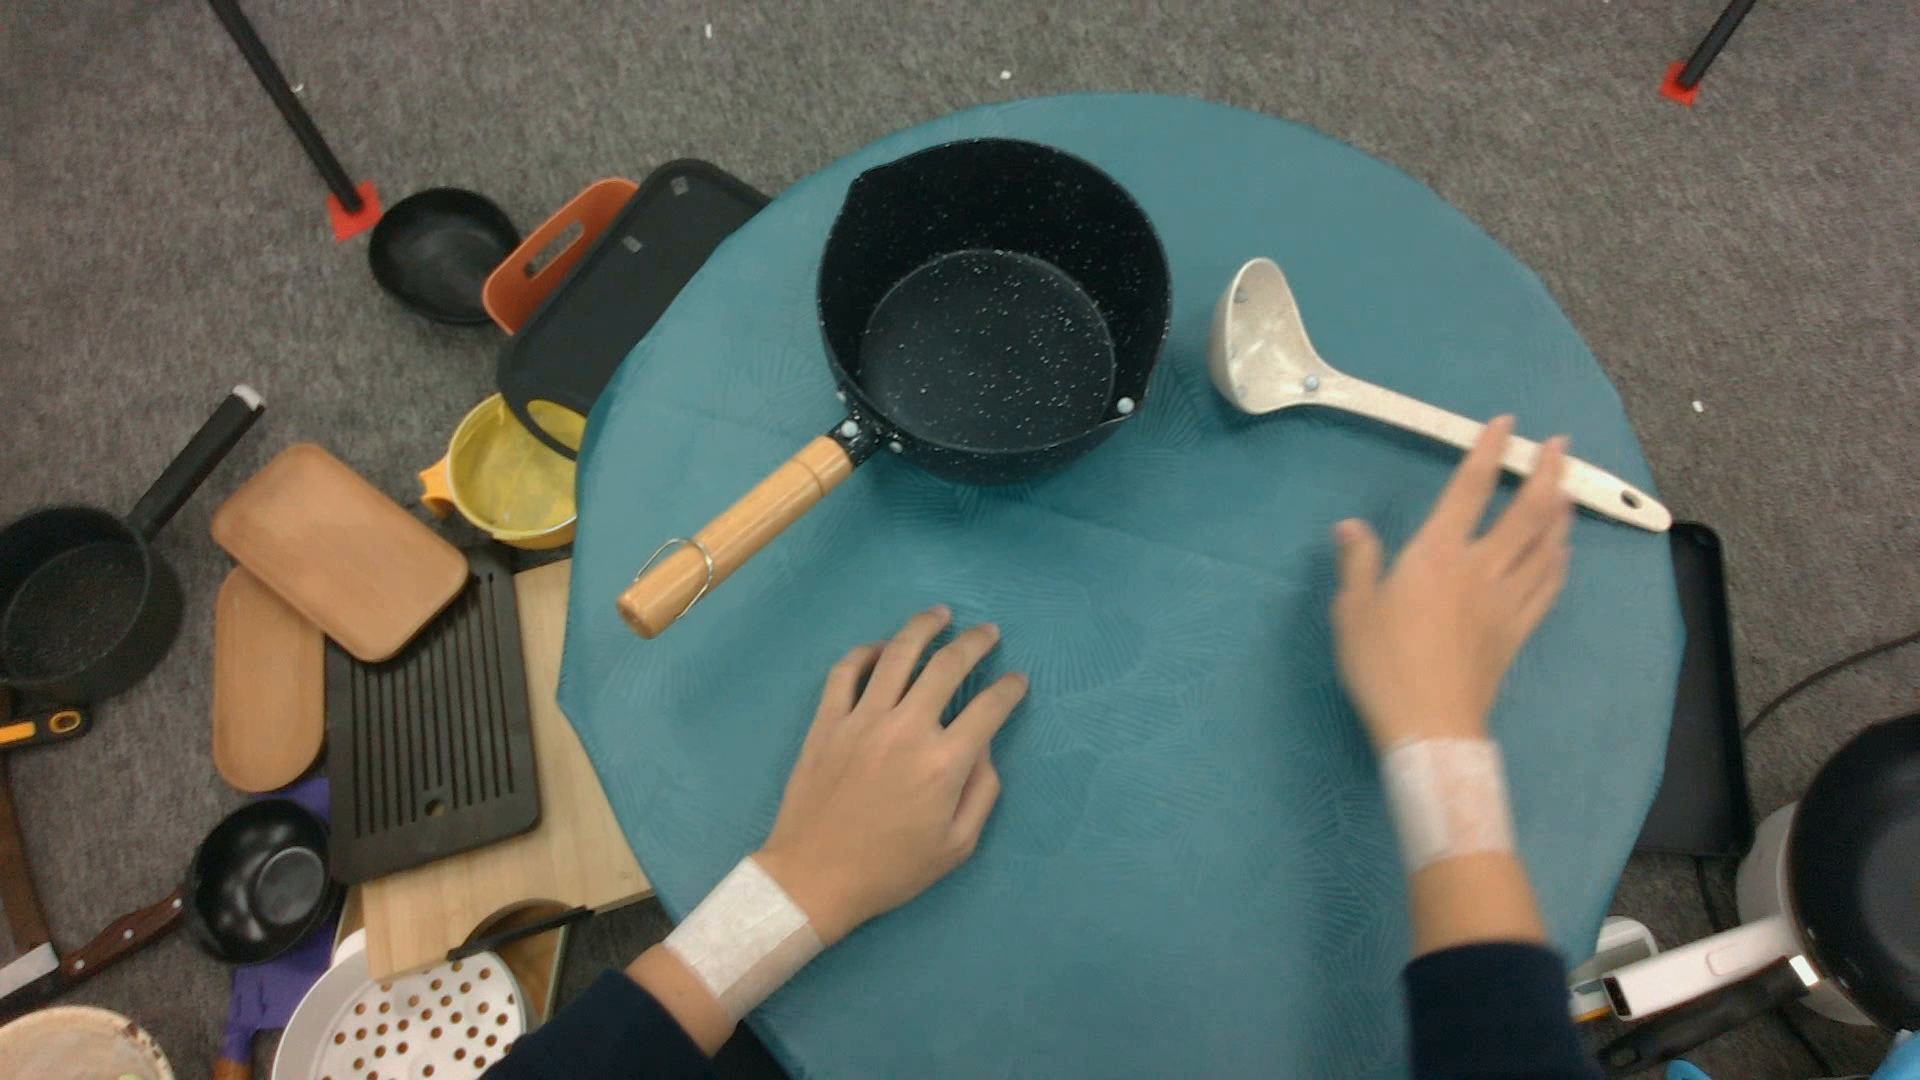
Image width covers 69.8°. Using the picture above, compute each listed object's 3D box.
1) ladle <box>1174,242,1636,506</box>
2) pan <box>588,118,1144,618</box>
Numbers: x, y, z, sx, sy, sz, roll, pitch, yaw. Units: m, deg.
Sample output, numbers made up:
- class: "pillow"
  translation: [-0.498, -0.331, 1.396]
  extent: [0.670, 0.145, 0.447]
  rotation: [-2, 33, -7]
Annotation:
- class: "ladle"
  translation: [0.249, -0.085, 0.749]
  extent: [0.275, 0.069, 0.090]
  rotation: [20, 59, 5]
- class: "pan"
  translation: [-0.050, -0.072, 0.711]
  extent: [0.207, 0.108, 0.344]
  rotation: [39, 72, 10]
